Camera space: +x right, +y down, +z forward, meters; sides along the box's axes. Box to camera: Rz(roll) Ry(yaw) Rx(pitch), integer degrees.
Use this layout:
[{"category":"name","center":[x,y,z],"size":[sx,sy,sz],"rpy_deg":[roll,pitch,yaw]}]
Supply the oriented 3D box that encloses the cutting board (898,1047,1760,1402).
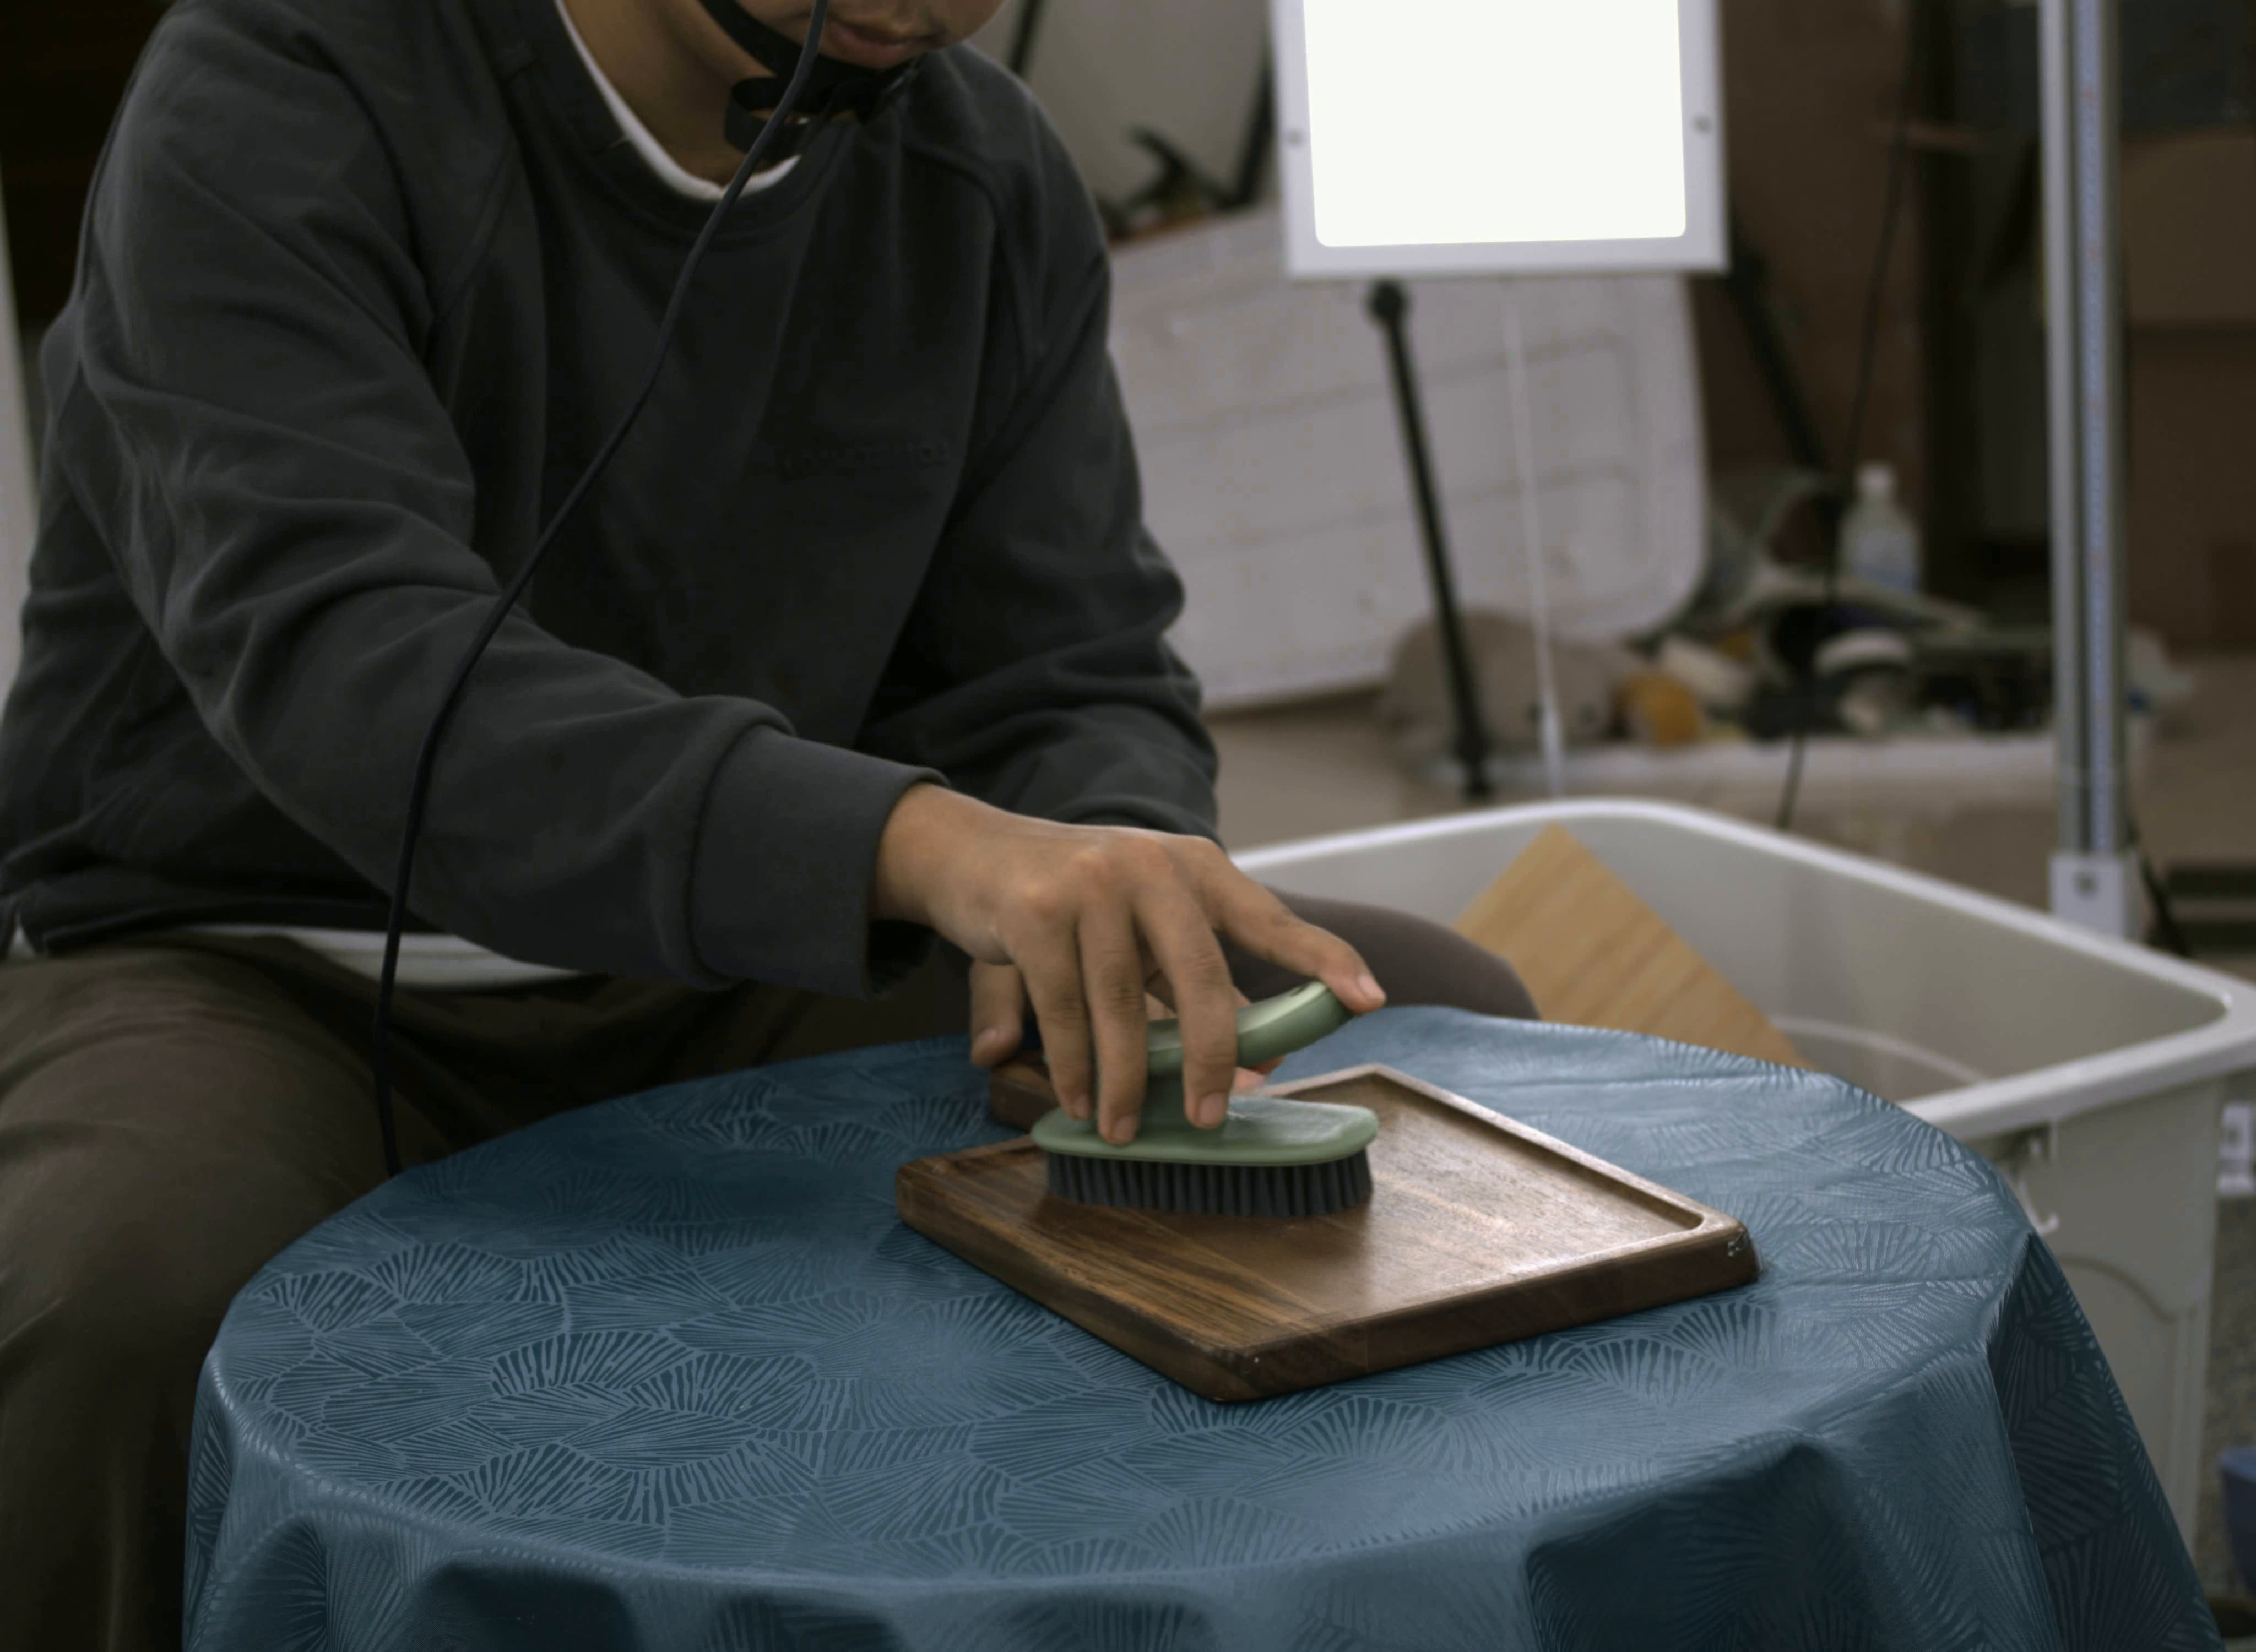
[{"category":"cutting board","center":[0.040,0.121,1.862],"size":[0.197,0.023,0.358],"rpy_deg":[-11,14,-24]}]

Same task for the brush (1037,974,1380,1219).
[{"category":"brush","center":[0.028,0.098,1.839],"size":[0.125,0.076,0.058],"rpy_deg":[-15,4,30]}]
